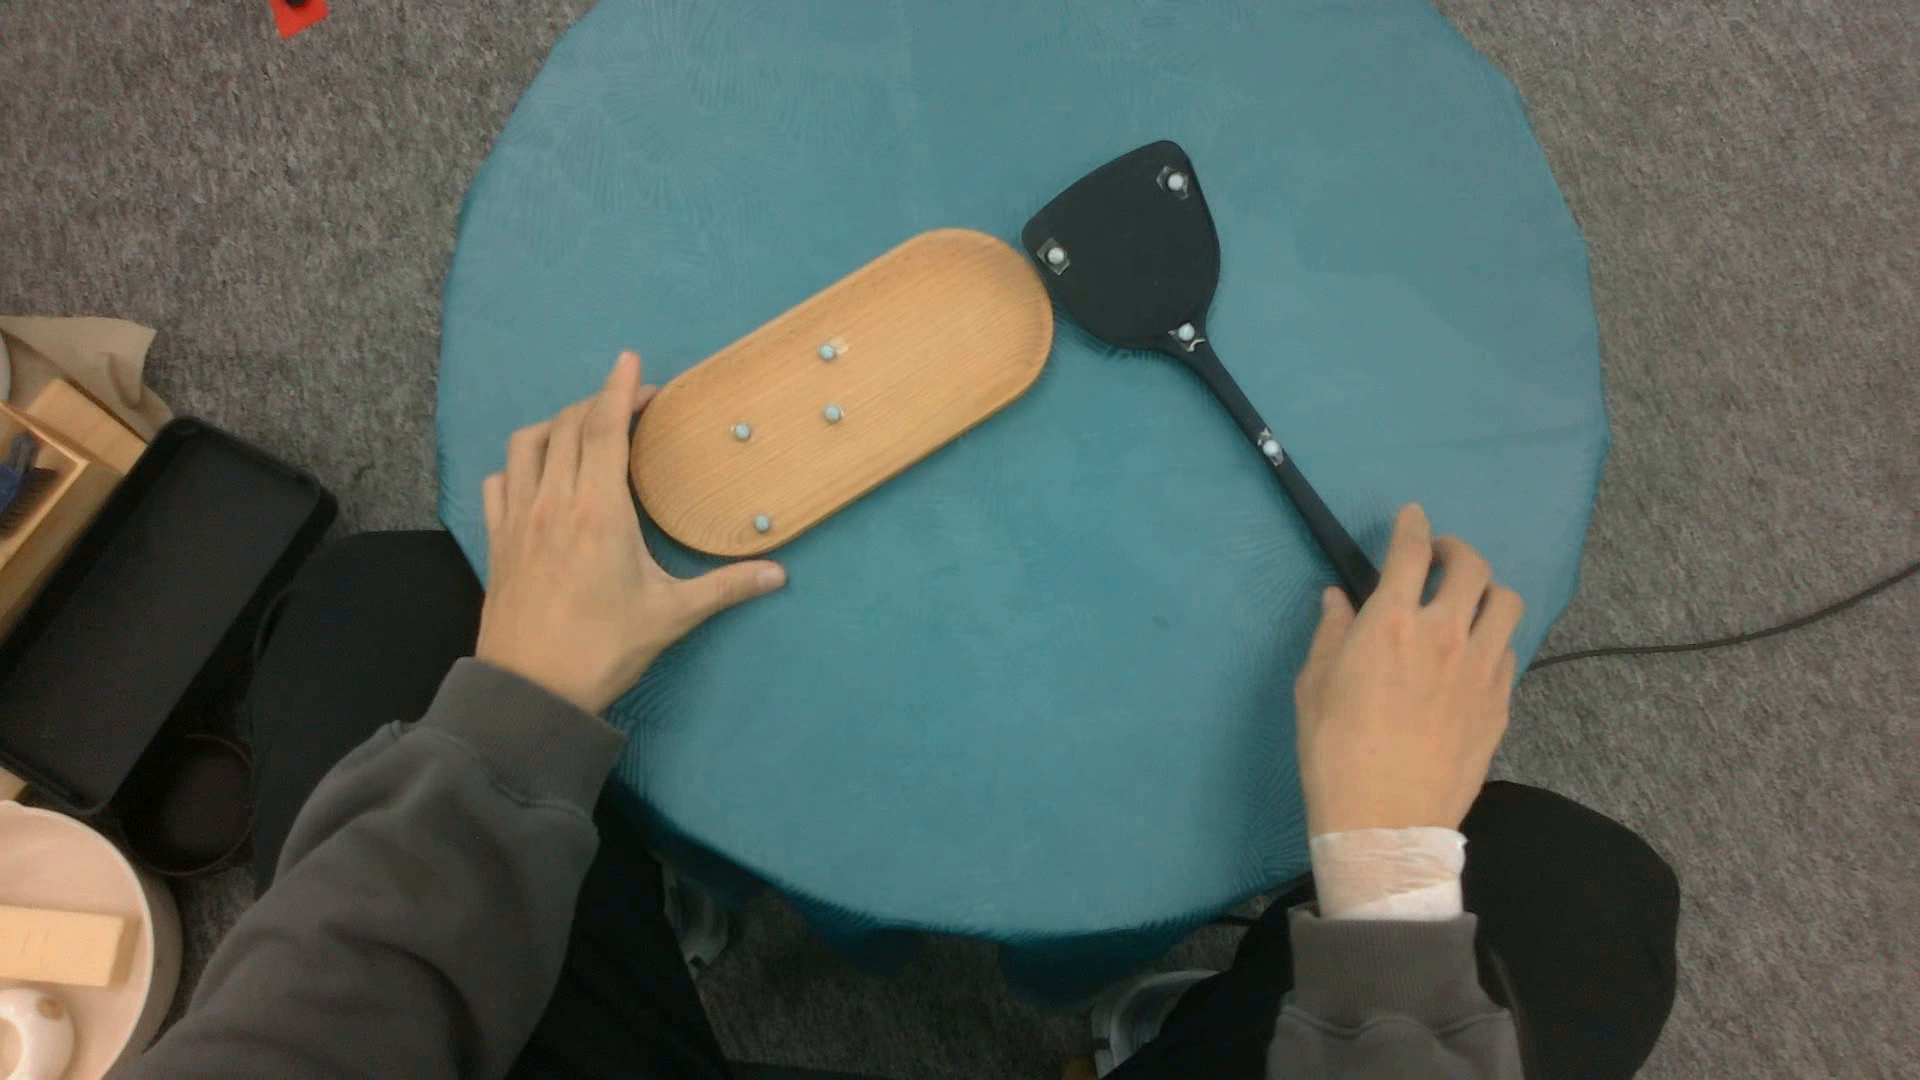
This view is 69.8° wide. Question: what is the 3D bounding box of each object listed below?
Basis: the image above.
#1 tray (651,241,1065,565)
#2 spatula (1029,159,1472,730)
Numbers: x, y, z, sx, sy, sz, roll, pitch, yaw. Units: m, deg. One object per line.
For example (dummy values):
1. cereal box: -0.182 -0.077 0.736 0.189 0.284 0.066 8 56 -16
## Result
1. tray: -0.051 -0.071 0.709 0.231 0.020 0.102 -32 80 -9
2. spatula: 0.159 -0.043 0.695 0.100 0.040 0.326 -33 79 -7
